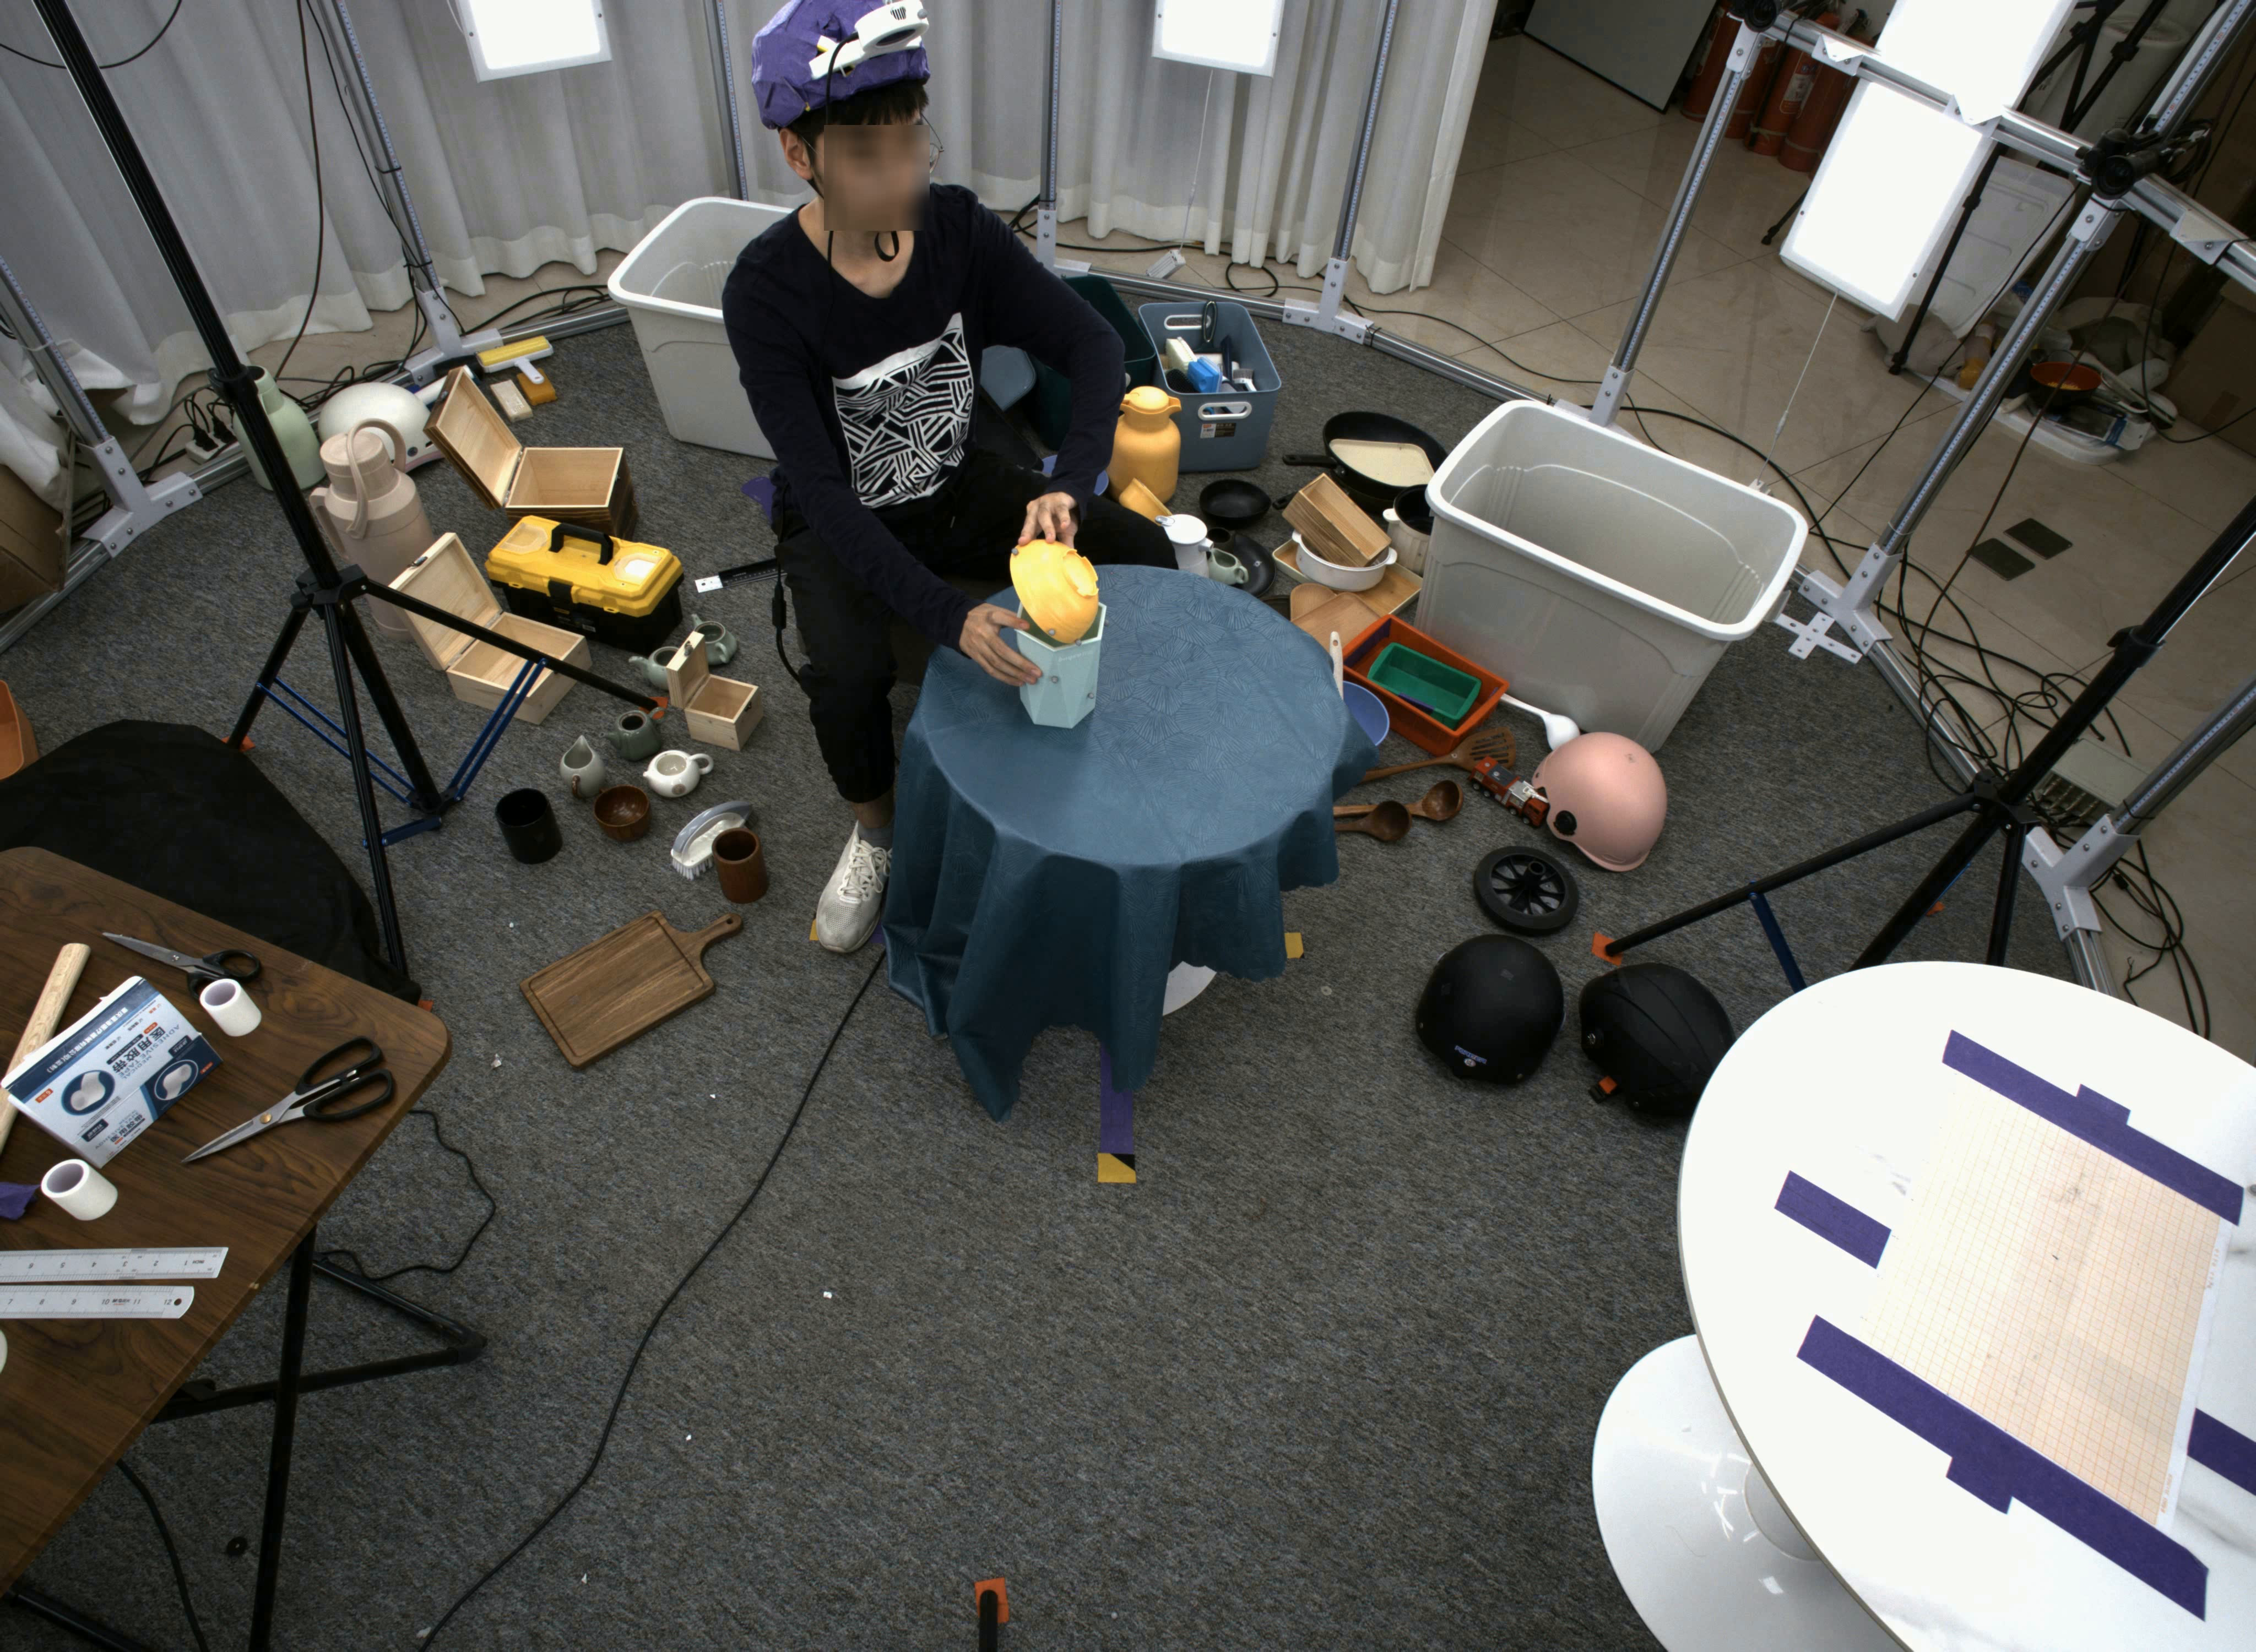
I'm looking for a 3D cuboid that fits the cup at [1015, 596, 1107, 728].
[{"bbox_3d":[-0.092,-0.225,1.751,0.131,0.159,0.118,-17,51,-19],"label":"cup"}]

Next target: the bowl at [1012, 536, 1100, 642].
[{"bbox_3d":[-0.079,-0.313,1.642,0.060,0.142,0.149,-26,39,31],"label":"bowl"}]
